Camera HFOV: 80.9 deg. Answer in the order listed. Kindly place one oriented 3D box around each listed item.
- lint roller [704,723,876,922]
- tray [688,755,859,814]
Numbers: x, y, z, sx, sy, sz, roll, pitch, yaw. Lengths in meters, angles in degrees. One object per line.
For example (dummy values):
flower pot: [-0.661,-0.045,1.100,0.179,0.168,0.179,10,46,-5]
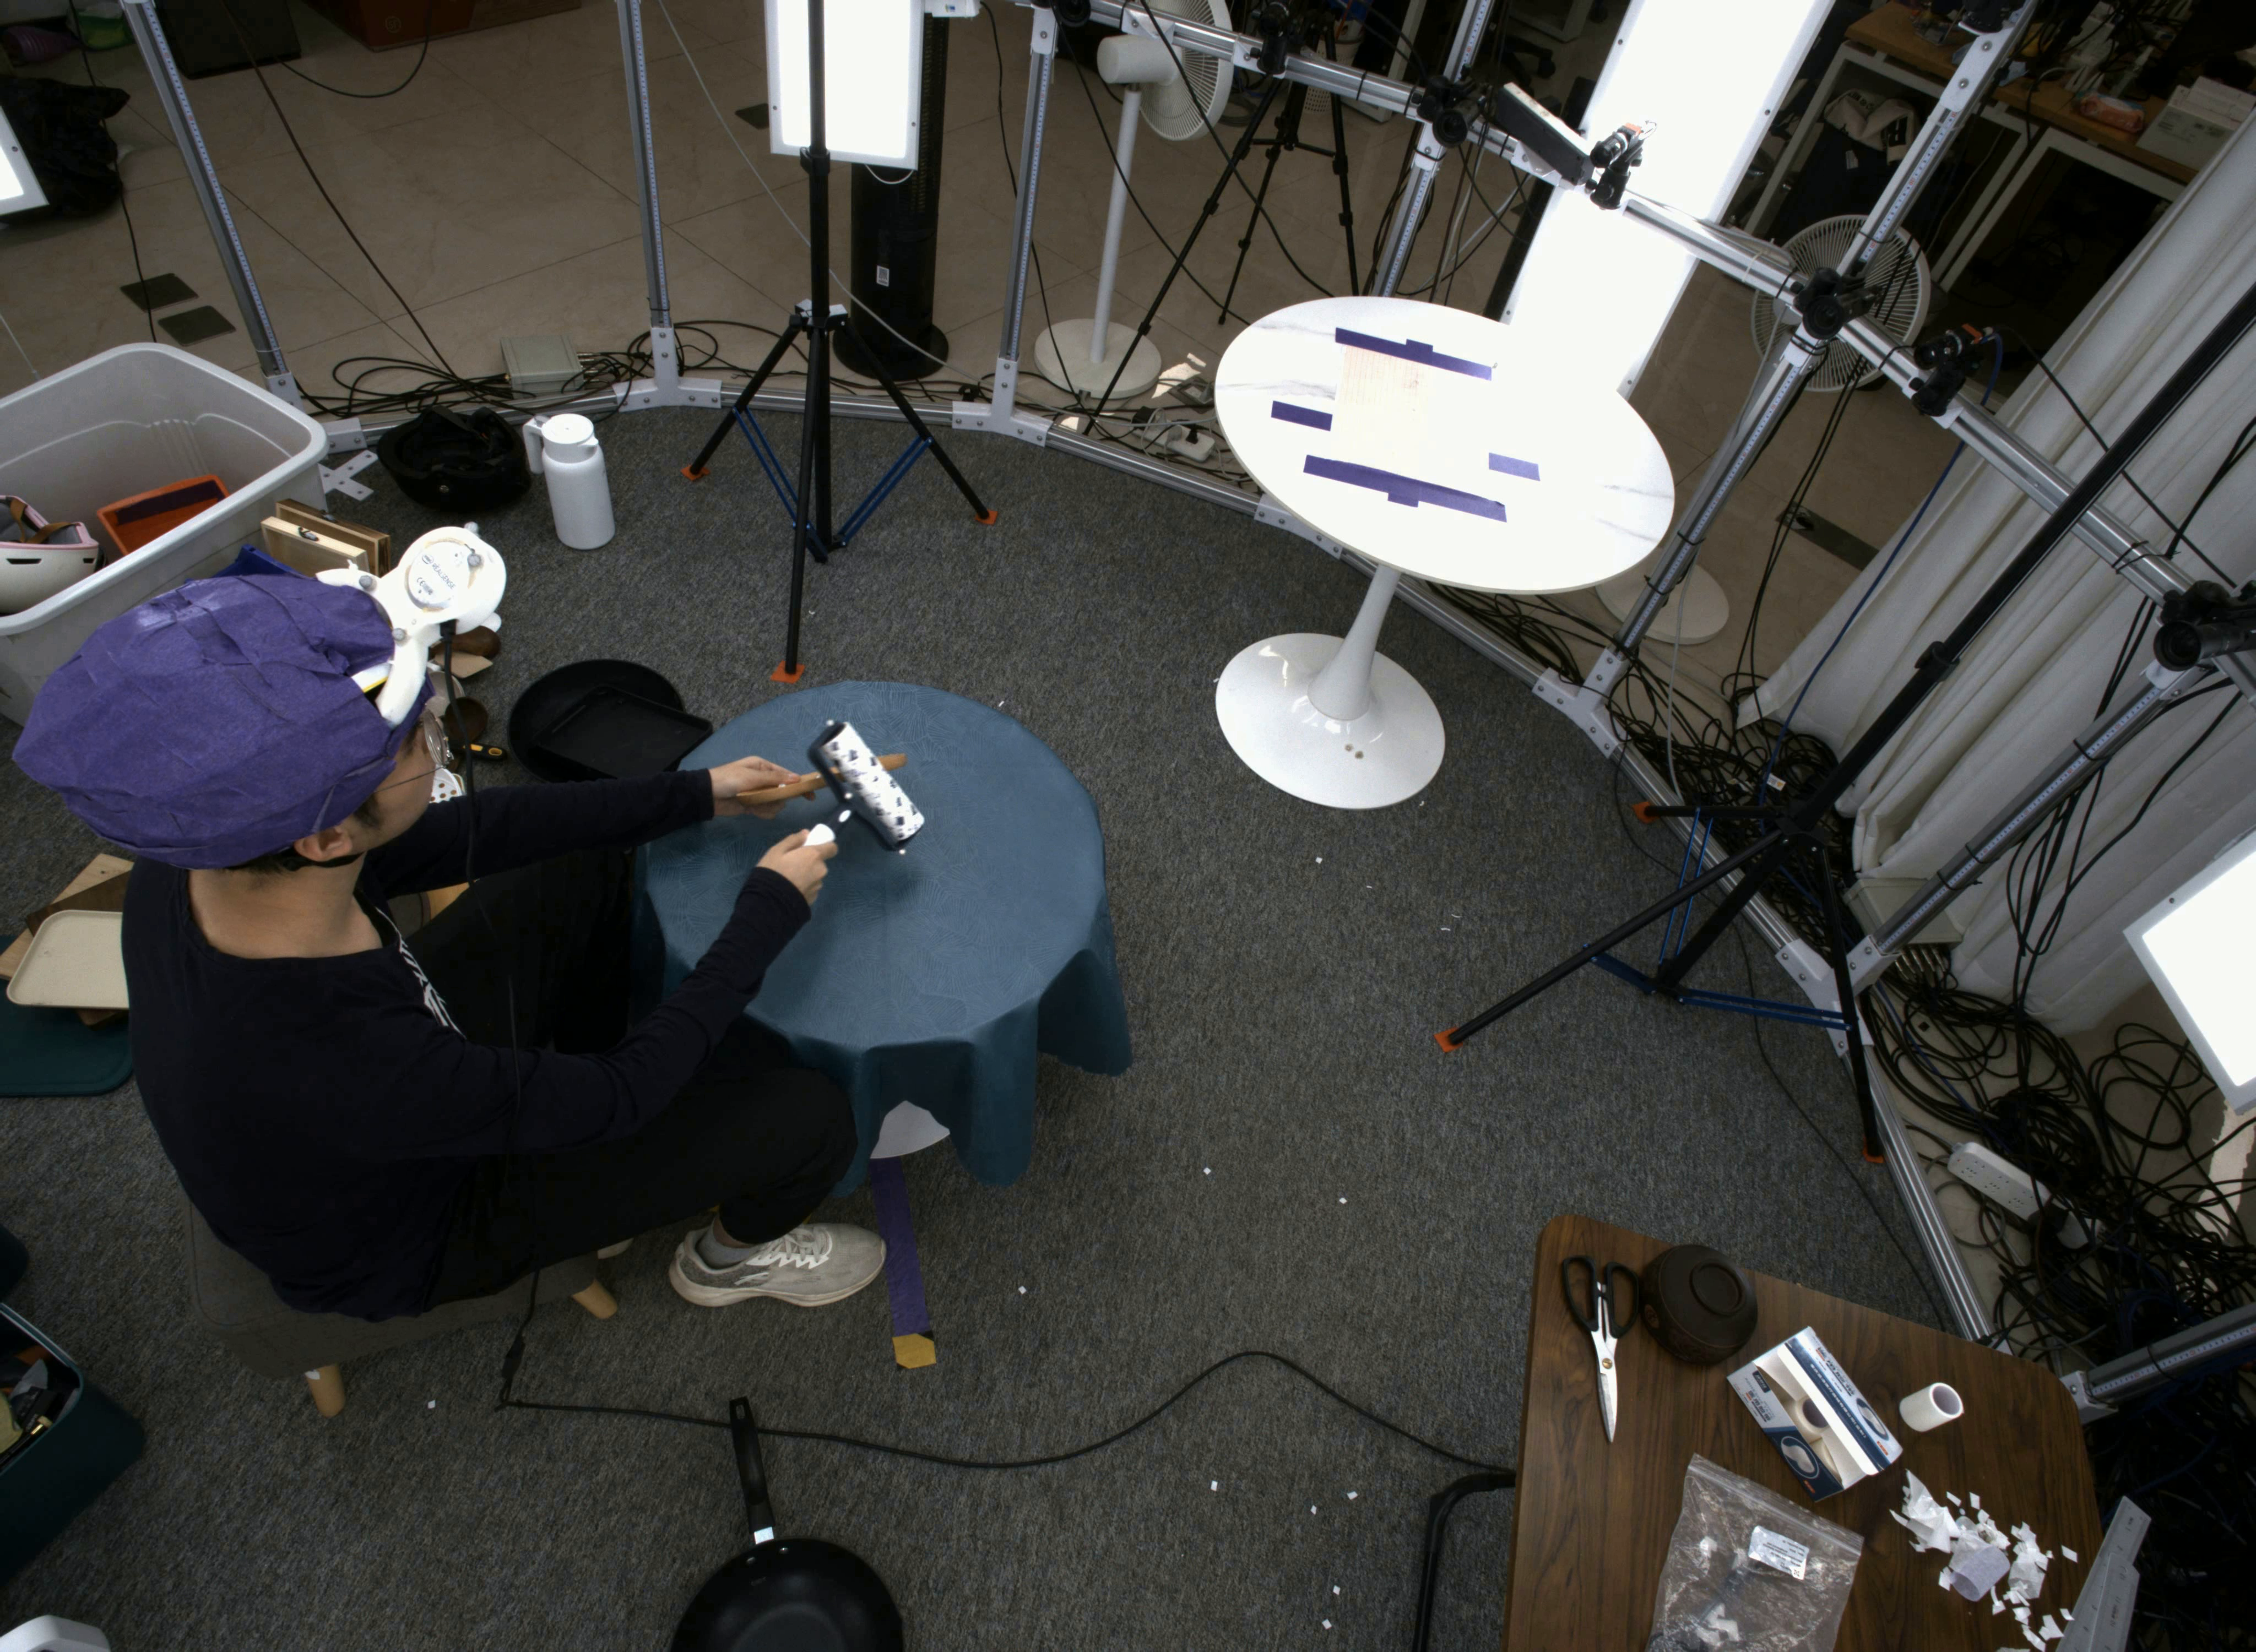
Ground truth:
lint roller: [-0.426,0.019,1.568,0.049,0.182,0.246,-4,43,42]
tray: [-0.452,-0.055,1.660,0.233,0.098,0.021,-19,103,-38]
